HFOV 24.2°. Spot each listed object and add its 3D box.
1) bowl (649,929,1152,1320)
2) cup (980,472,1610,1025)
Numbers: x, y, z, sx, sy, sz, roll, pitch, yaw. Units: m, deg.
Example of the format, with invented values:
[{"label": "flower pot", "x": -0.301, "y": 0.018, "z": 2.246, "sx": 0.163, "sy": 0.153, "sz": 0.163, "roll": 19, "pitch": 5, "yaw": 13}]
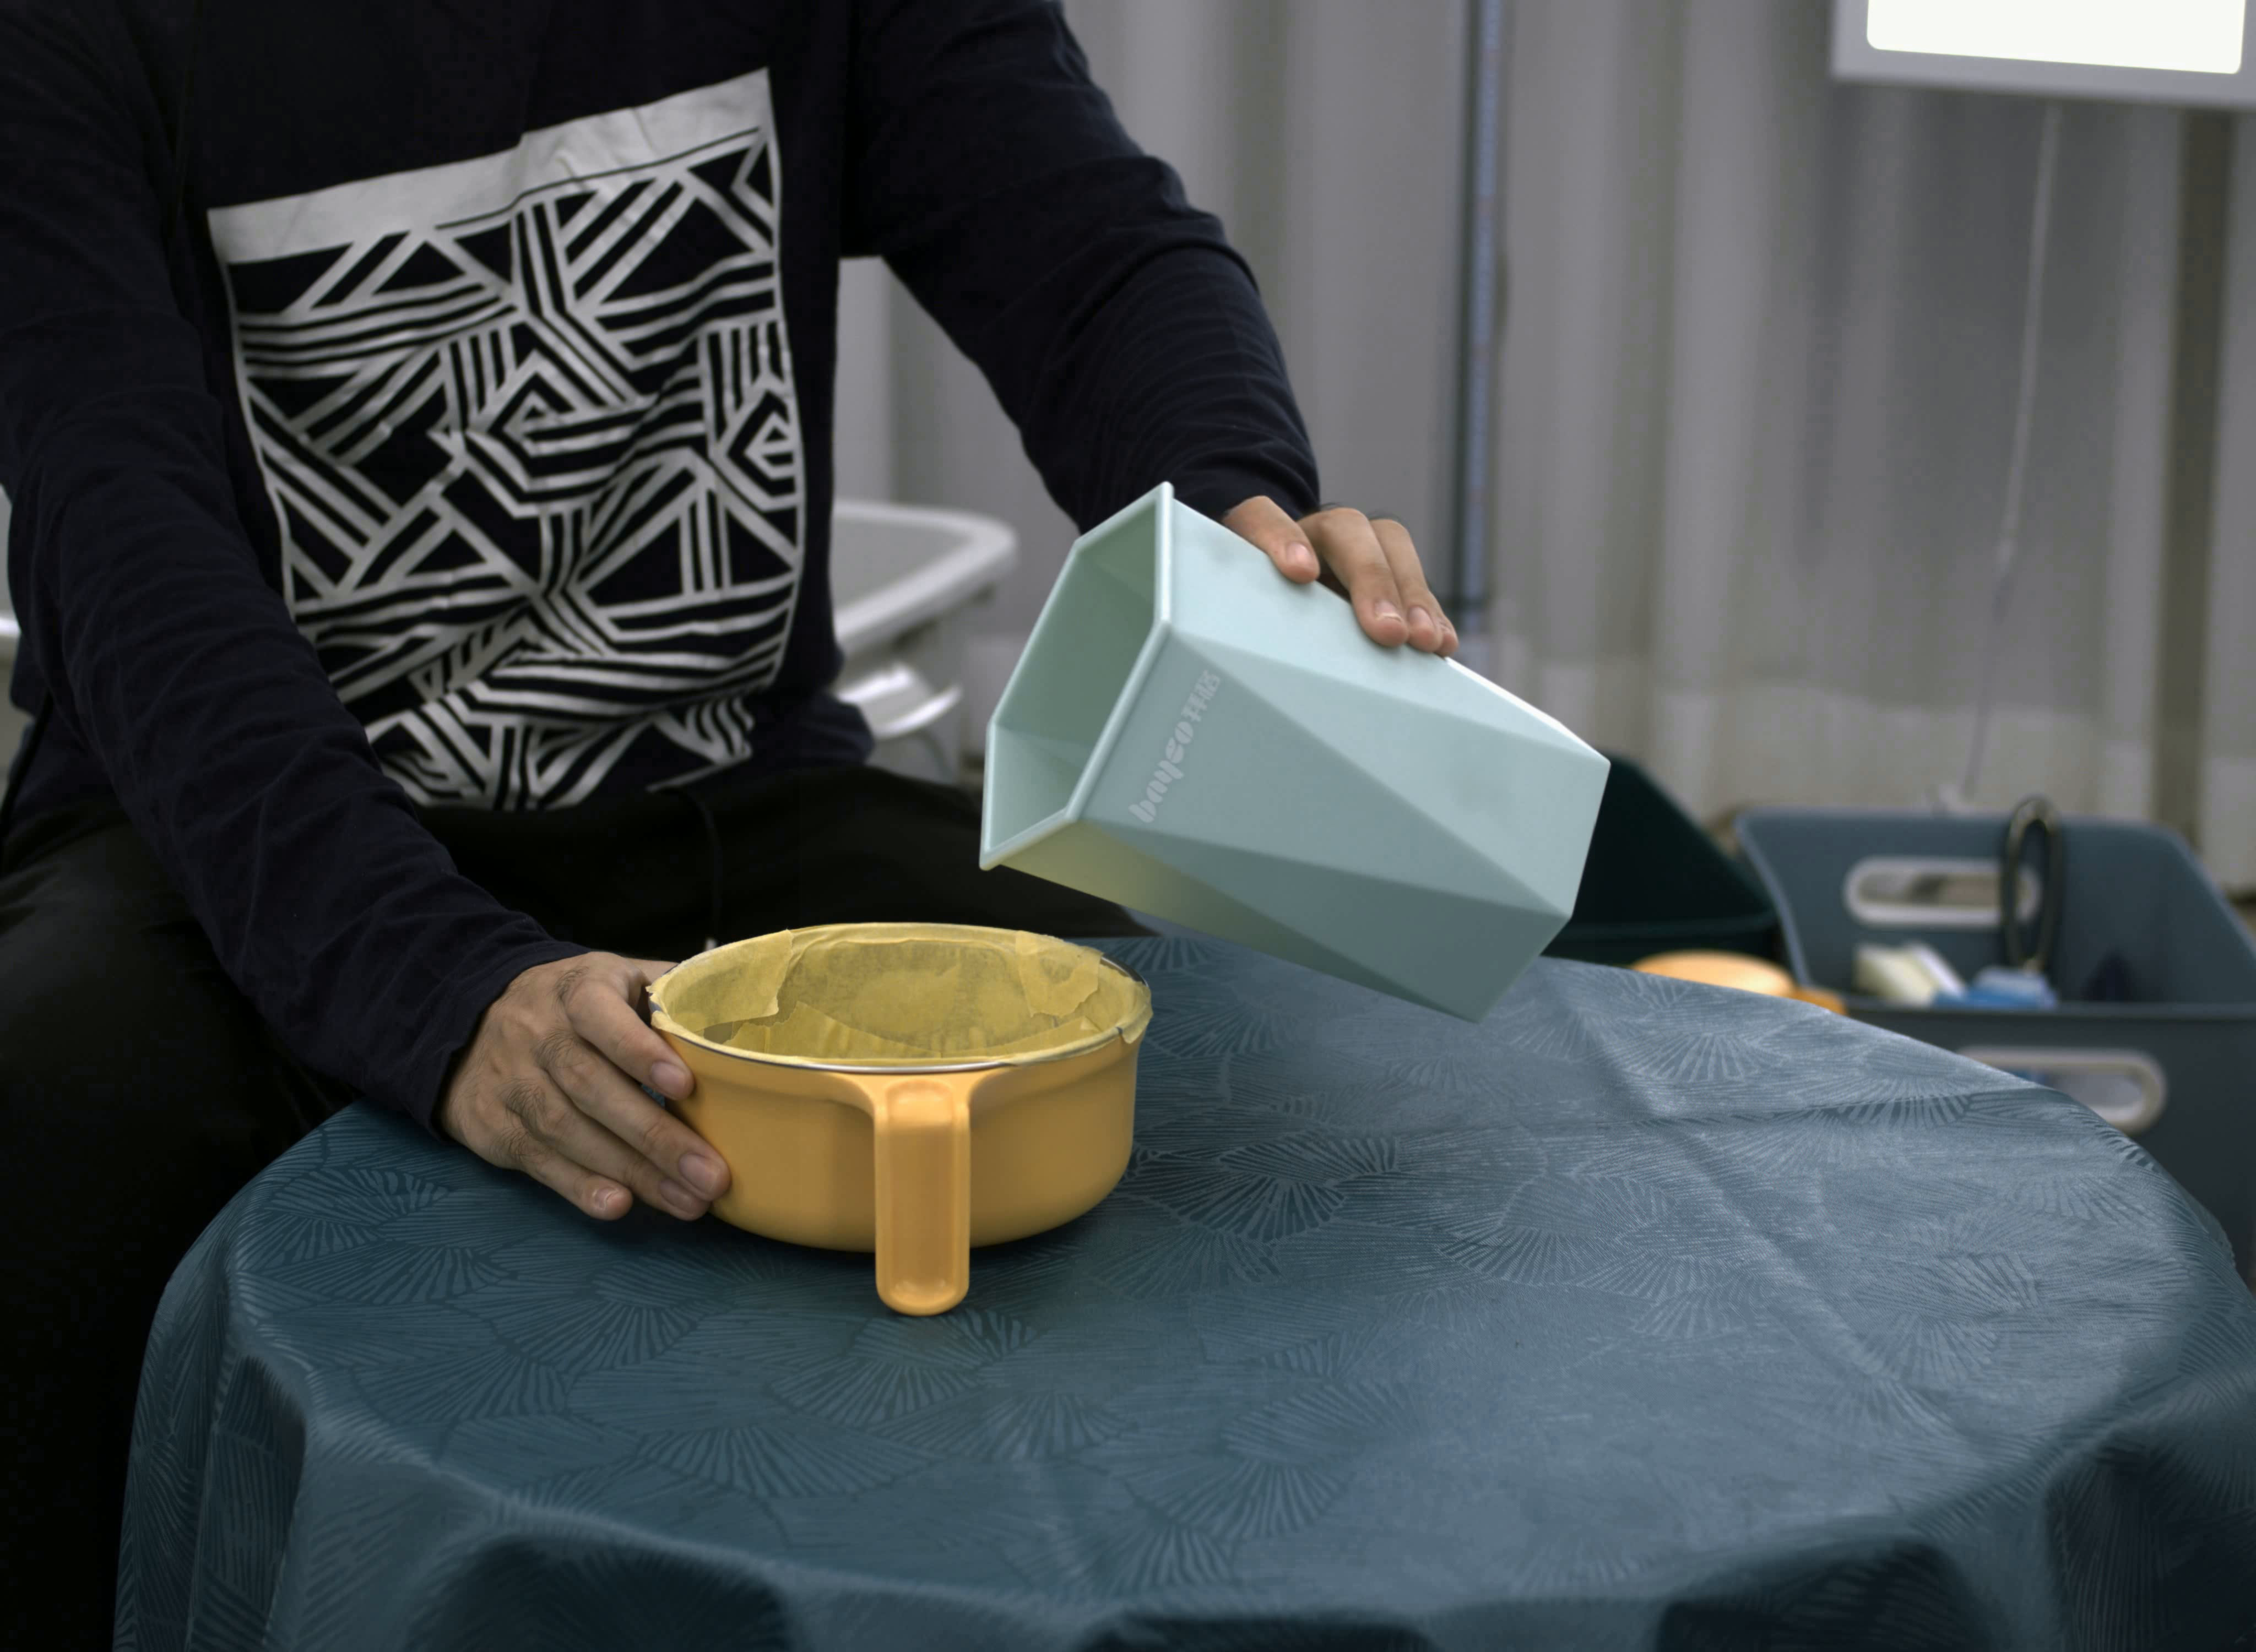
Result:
[{"label": "bowl", "x": -0.067, "y": 0.087, "z": 1.591, "sx": 0.153, "sy": 0.075, "sz": 0.178, "roll": -2, "pitch": 14, "yaw": -10}, {"label": "cup", "x": 0.053, "y": -0.017, "z": 1.617, "sx": 0.164, "sy": 0.131, "sz": 0.114, "roll": 25, "pitch": 6, "yaw": -18}]
